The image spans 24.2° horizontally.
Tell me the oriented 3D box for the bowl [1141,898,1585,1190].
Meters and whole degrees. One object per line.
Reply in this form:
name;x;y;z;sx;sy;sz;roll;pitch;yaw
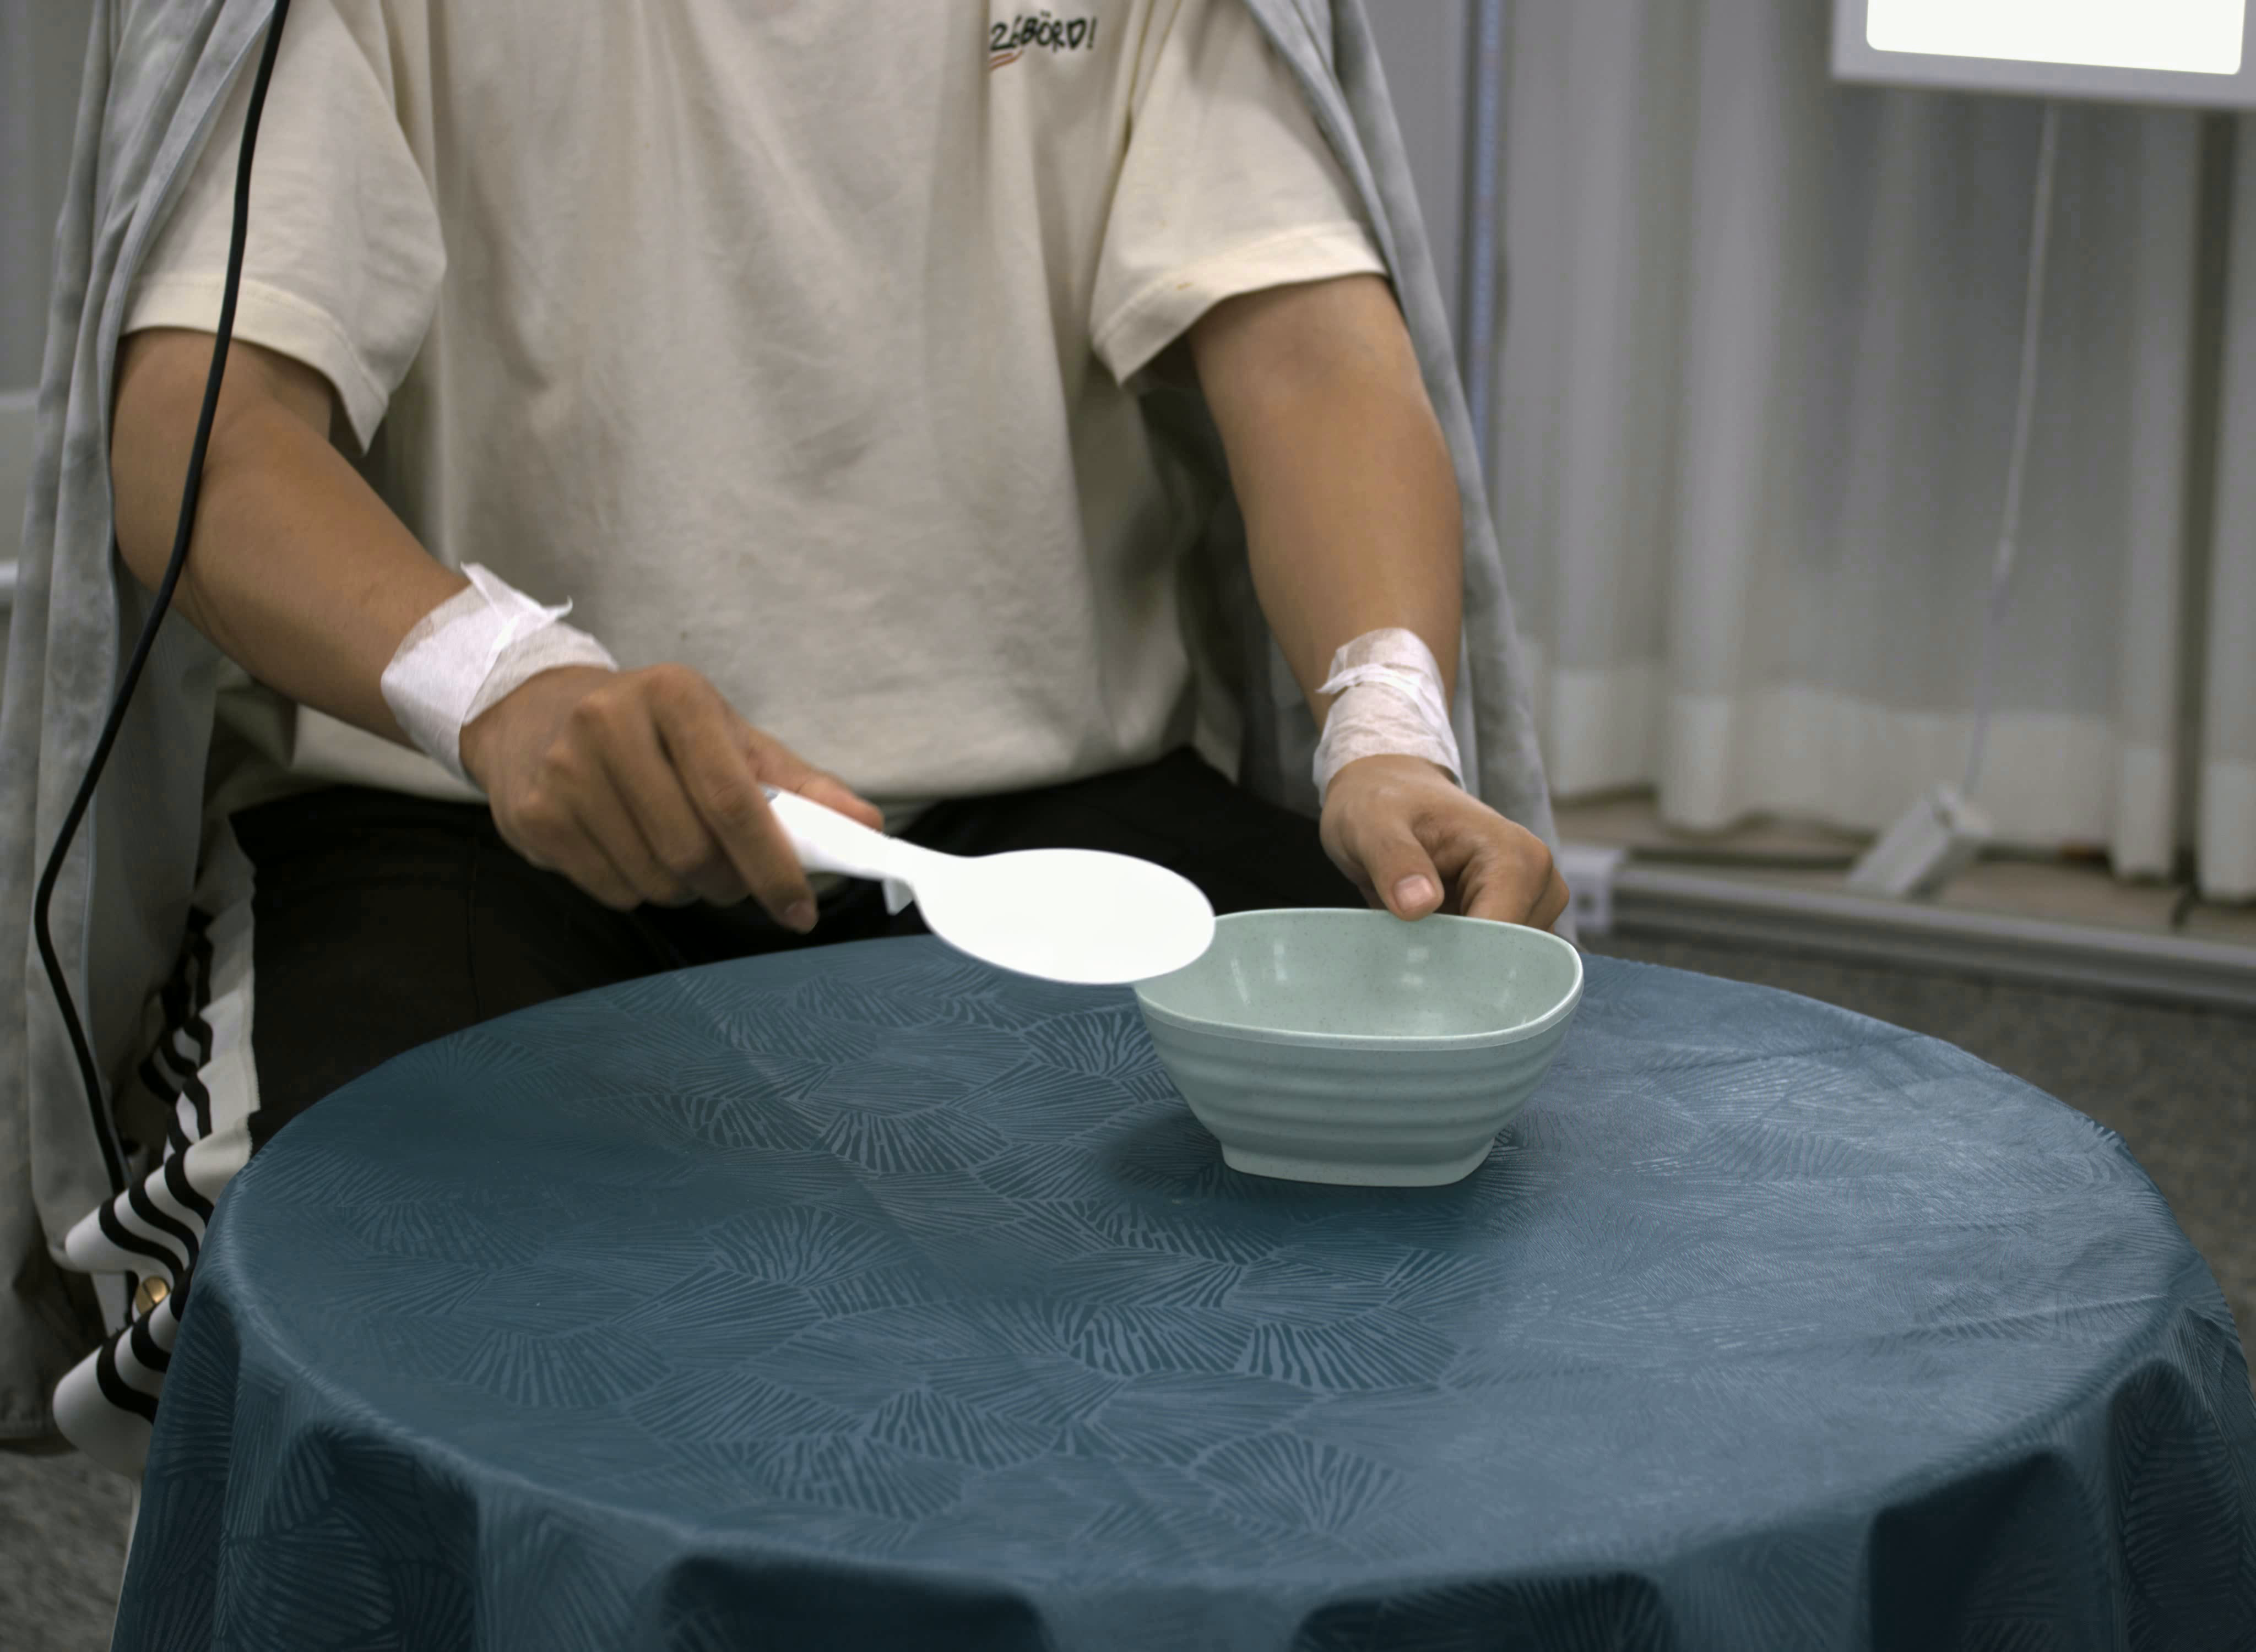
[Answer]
bowl;0.074;0.072;1.665;0.151;0.059;0.150;0;18;1

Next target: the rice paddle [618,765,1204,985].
rice paddle;-0.066;0.015;1.599;0.203;0.030;0.069;14;36;31
